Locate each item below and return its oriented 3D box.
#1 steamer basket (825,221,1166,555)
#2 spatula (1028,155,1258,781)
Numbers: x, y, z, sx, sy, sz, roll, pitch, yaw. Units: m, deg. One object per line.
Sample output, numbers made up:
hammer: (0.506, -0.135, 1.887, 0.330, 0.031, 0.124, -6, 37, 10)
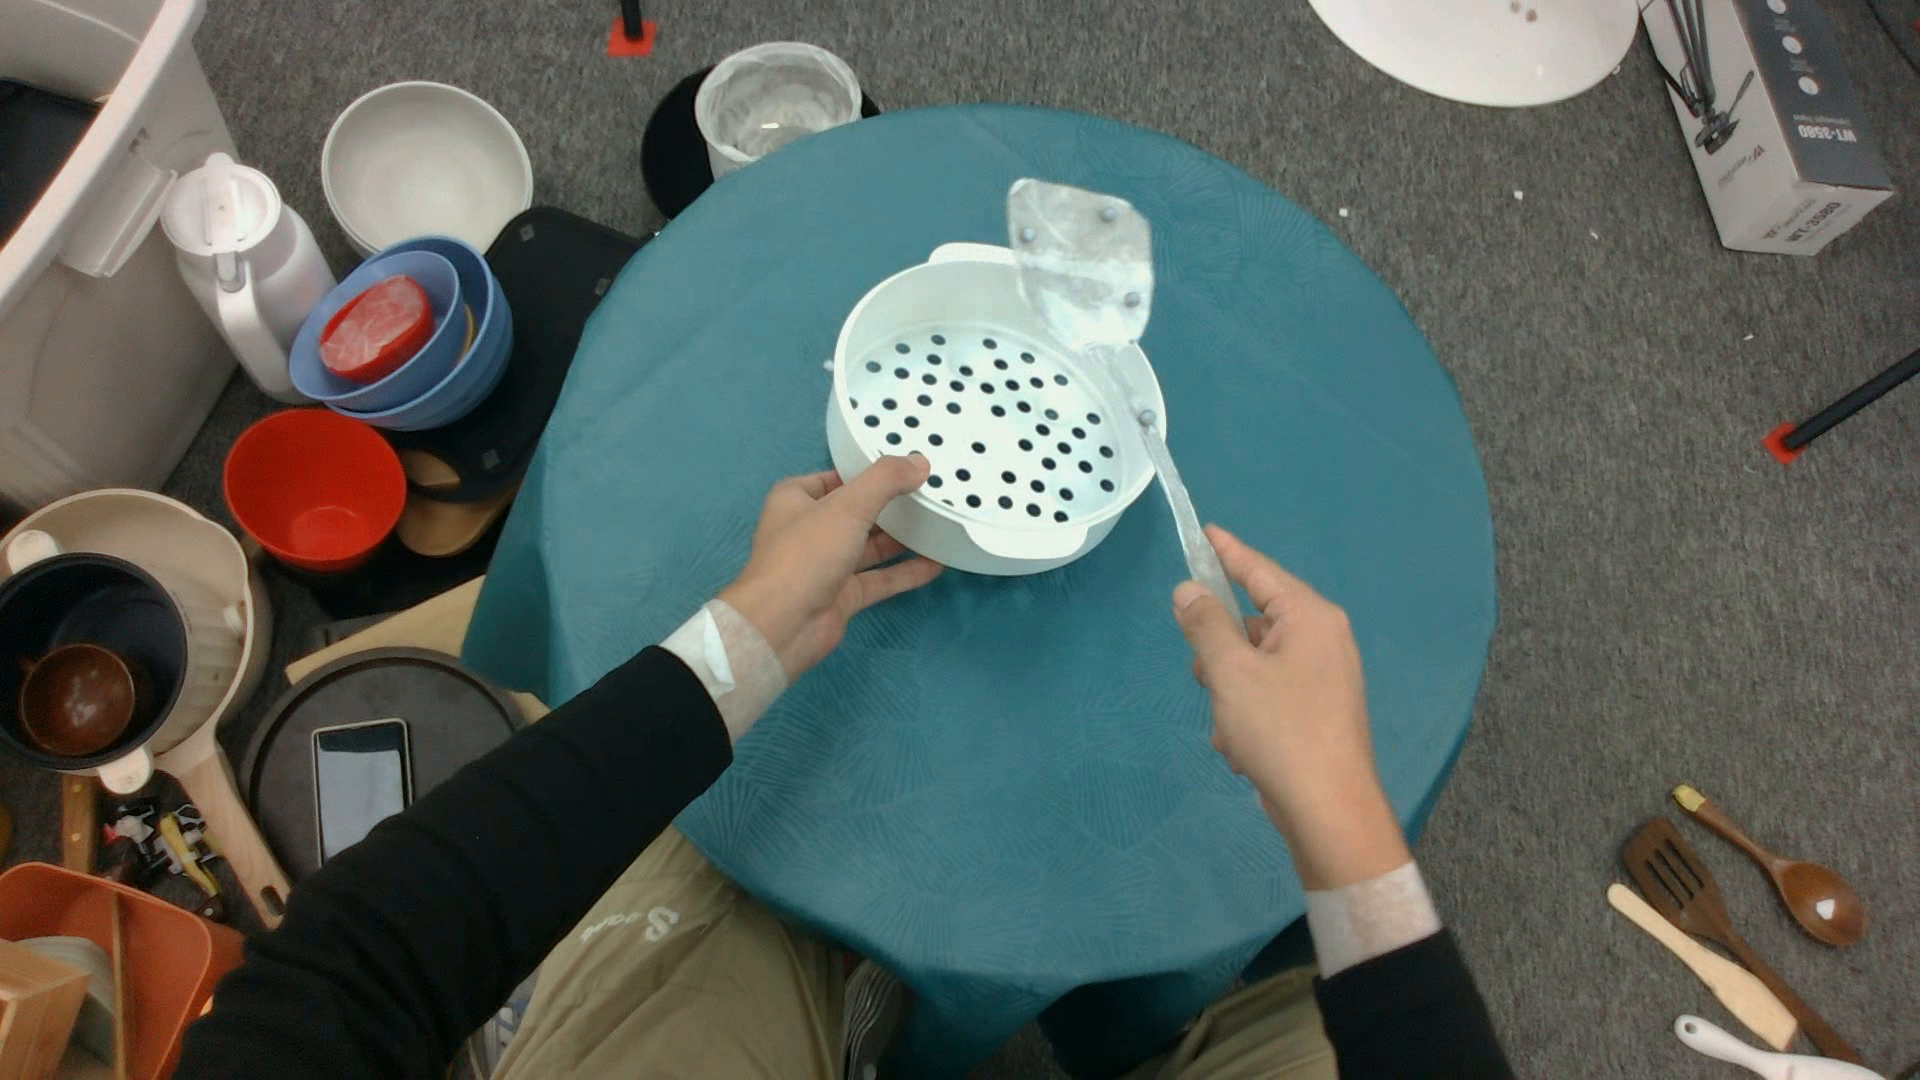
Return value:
steamer basket: (0.018, -0.086, 0.827, 0.202, 0.069, 0.231, 2, 59, -15)
spatula: (0.104, -0.053, 0.707, 0.099, 0.044, 0.366, 8, 52, -31)
